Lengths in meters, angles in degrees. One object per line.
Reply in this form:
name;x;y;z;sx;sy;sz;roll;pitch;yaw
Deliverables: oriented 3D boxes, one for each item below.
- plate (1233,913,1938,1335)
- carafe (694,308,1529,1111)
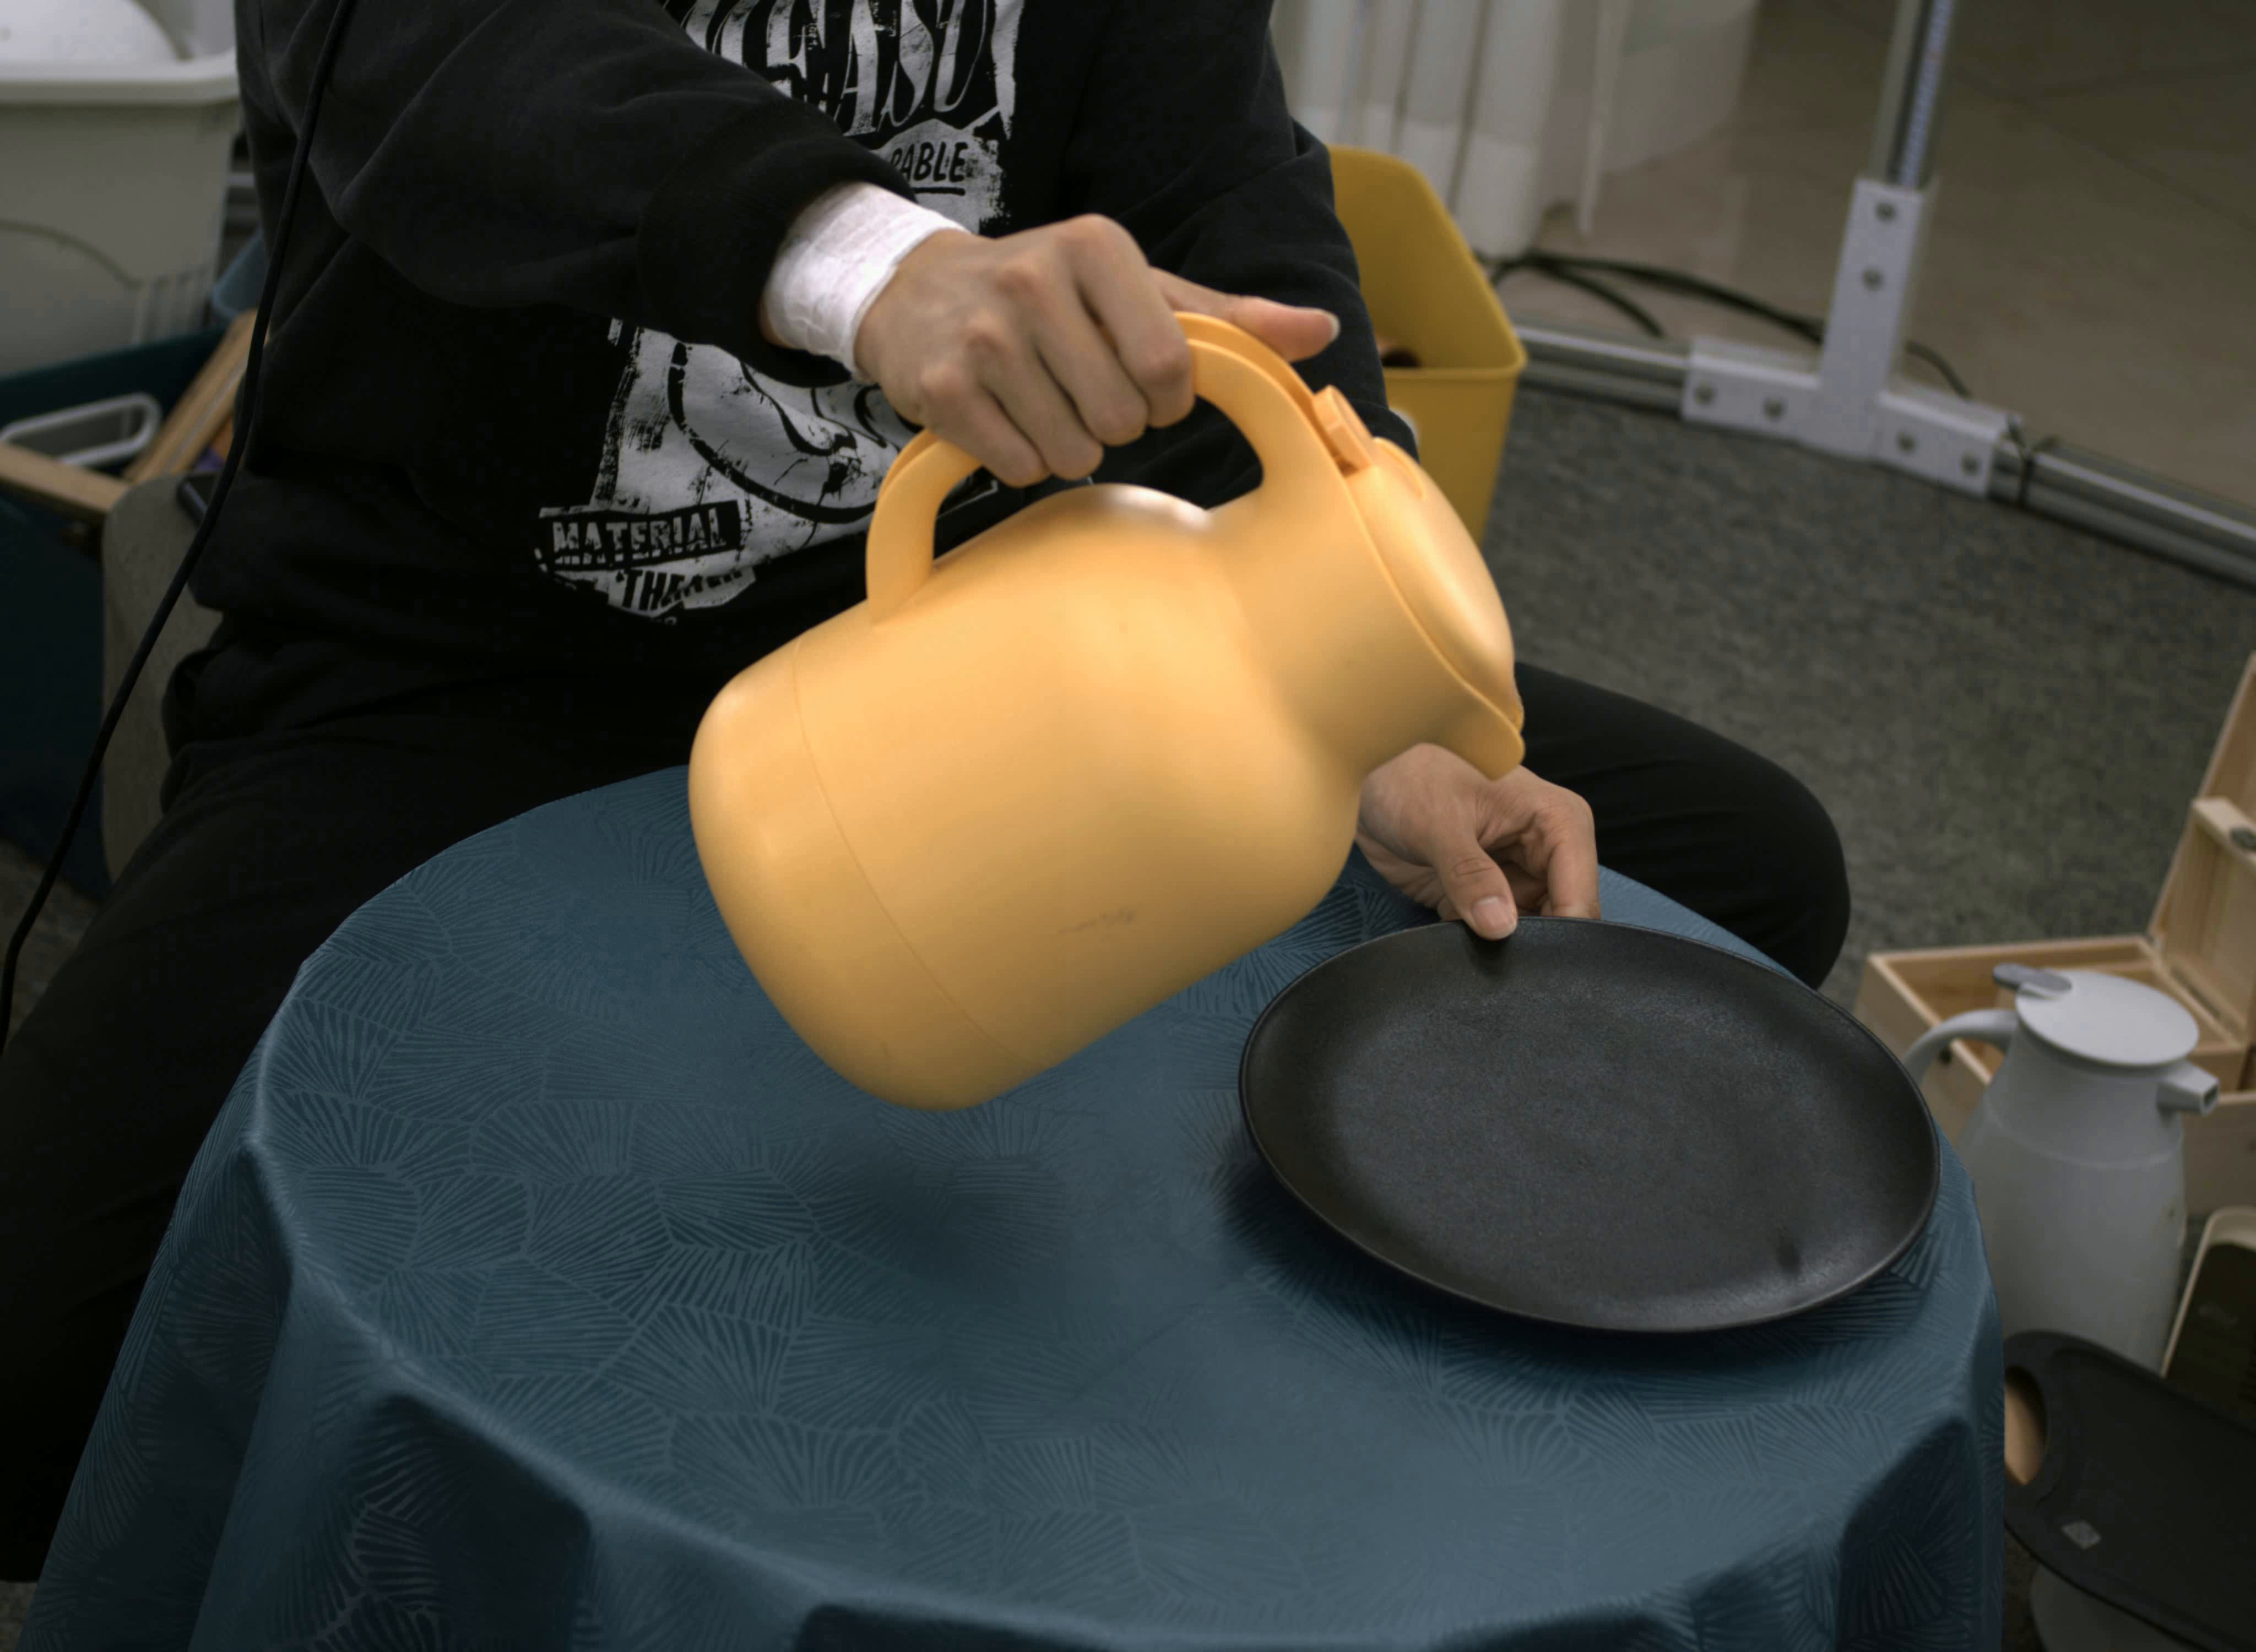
plate;0.156;0.107;1.830;0.243;0.023;0.246;4;32;-3
carafe;-0.013;-0.044;1.712;0.260;0.201;0.164;-30;16;15
